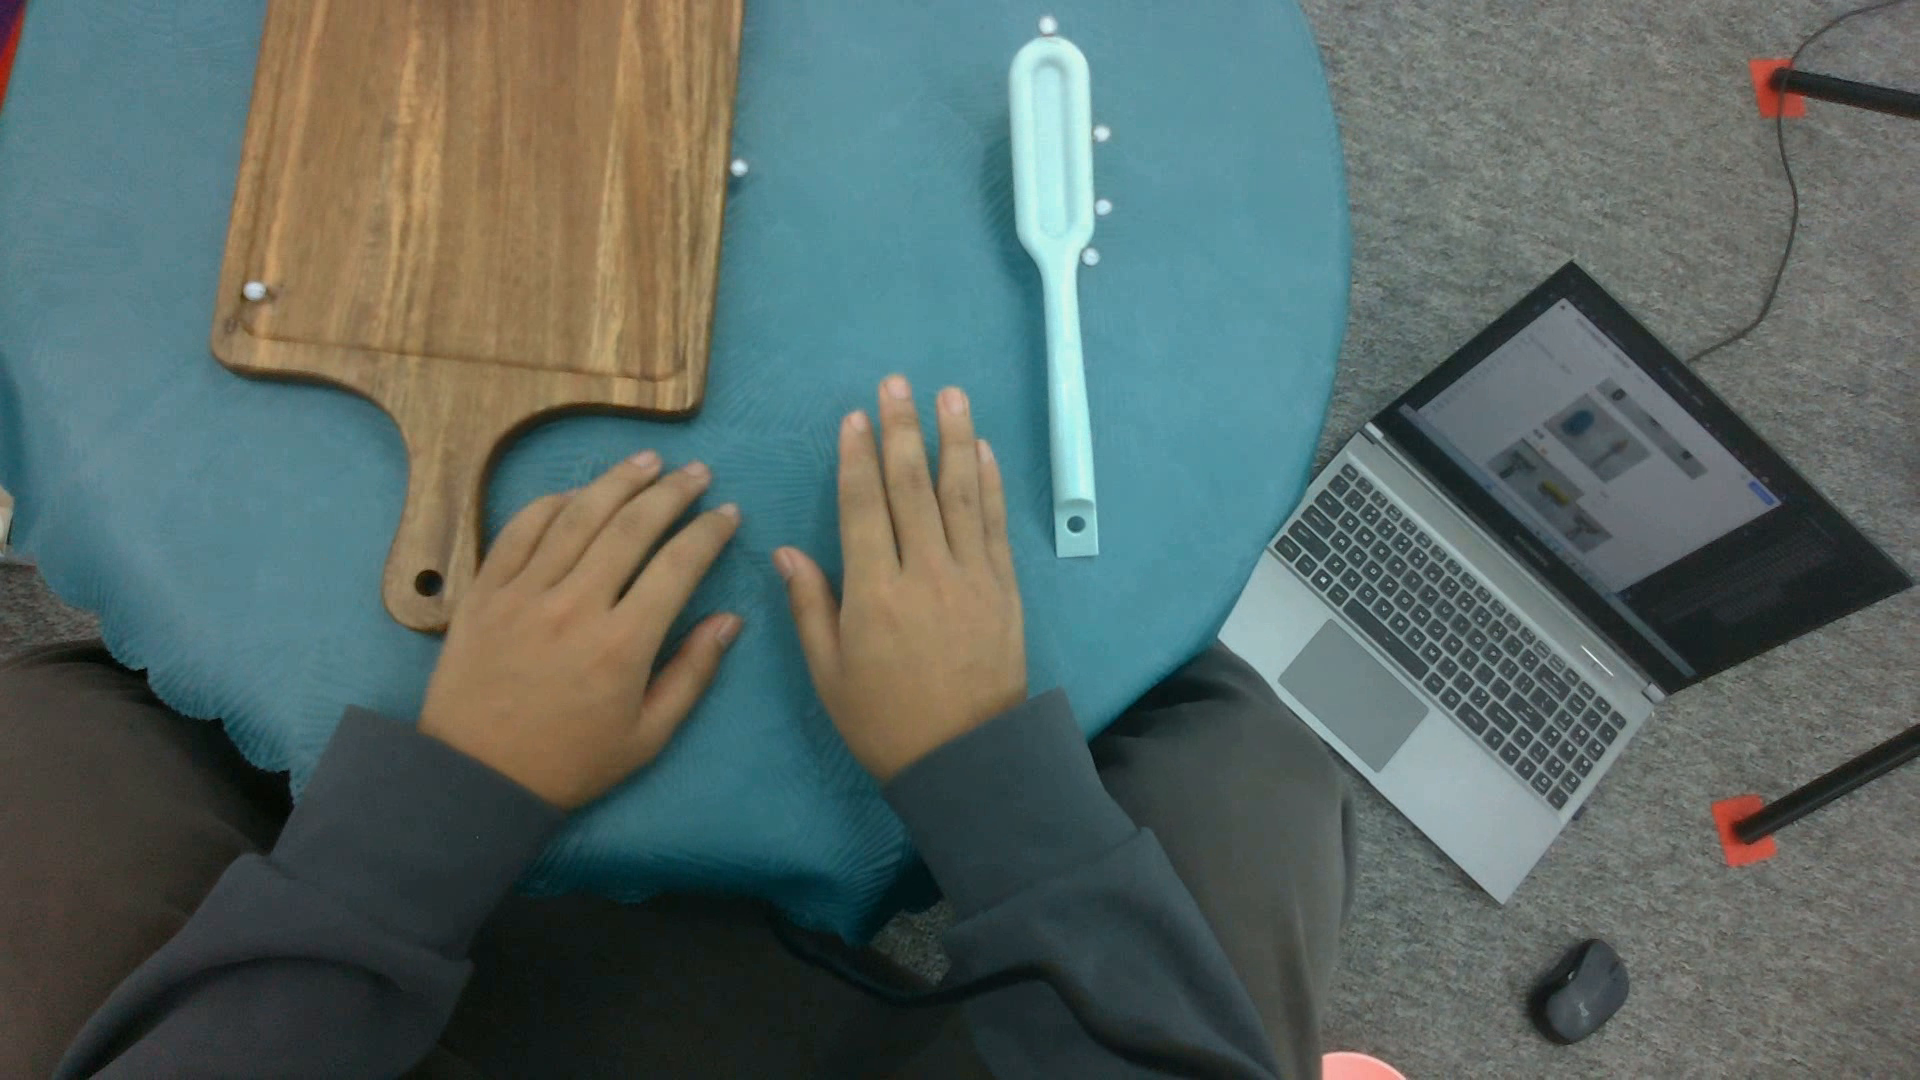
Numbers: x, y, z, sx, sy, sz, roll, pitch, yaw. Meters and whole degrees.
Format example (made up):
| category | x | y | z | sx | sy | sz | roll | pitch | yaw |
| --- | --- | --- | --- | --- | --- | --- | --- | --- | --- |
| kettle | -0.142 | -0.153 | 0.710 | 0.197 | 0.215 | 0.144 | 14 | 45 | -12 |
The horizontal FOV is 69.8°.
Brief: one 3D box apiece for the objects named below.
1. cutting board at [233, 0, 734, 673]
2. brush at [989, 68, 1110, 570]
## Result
| category | x | y | z | sx | sy | sz | roll | pitch | yaw |
| --- | --- | --- | --- | --- | --- | --- | --- | --- | --- |
| cutting board | -0.209 | -0.118 | 0.611 | 0.201 | 0.023 | 0.352 | 3 | 79 | -7 |
| brush | 0.046 | -0.100 | 0.638 | 0.038 | 0.049 | 0.229 | -9 | 88 | 3 |
